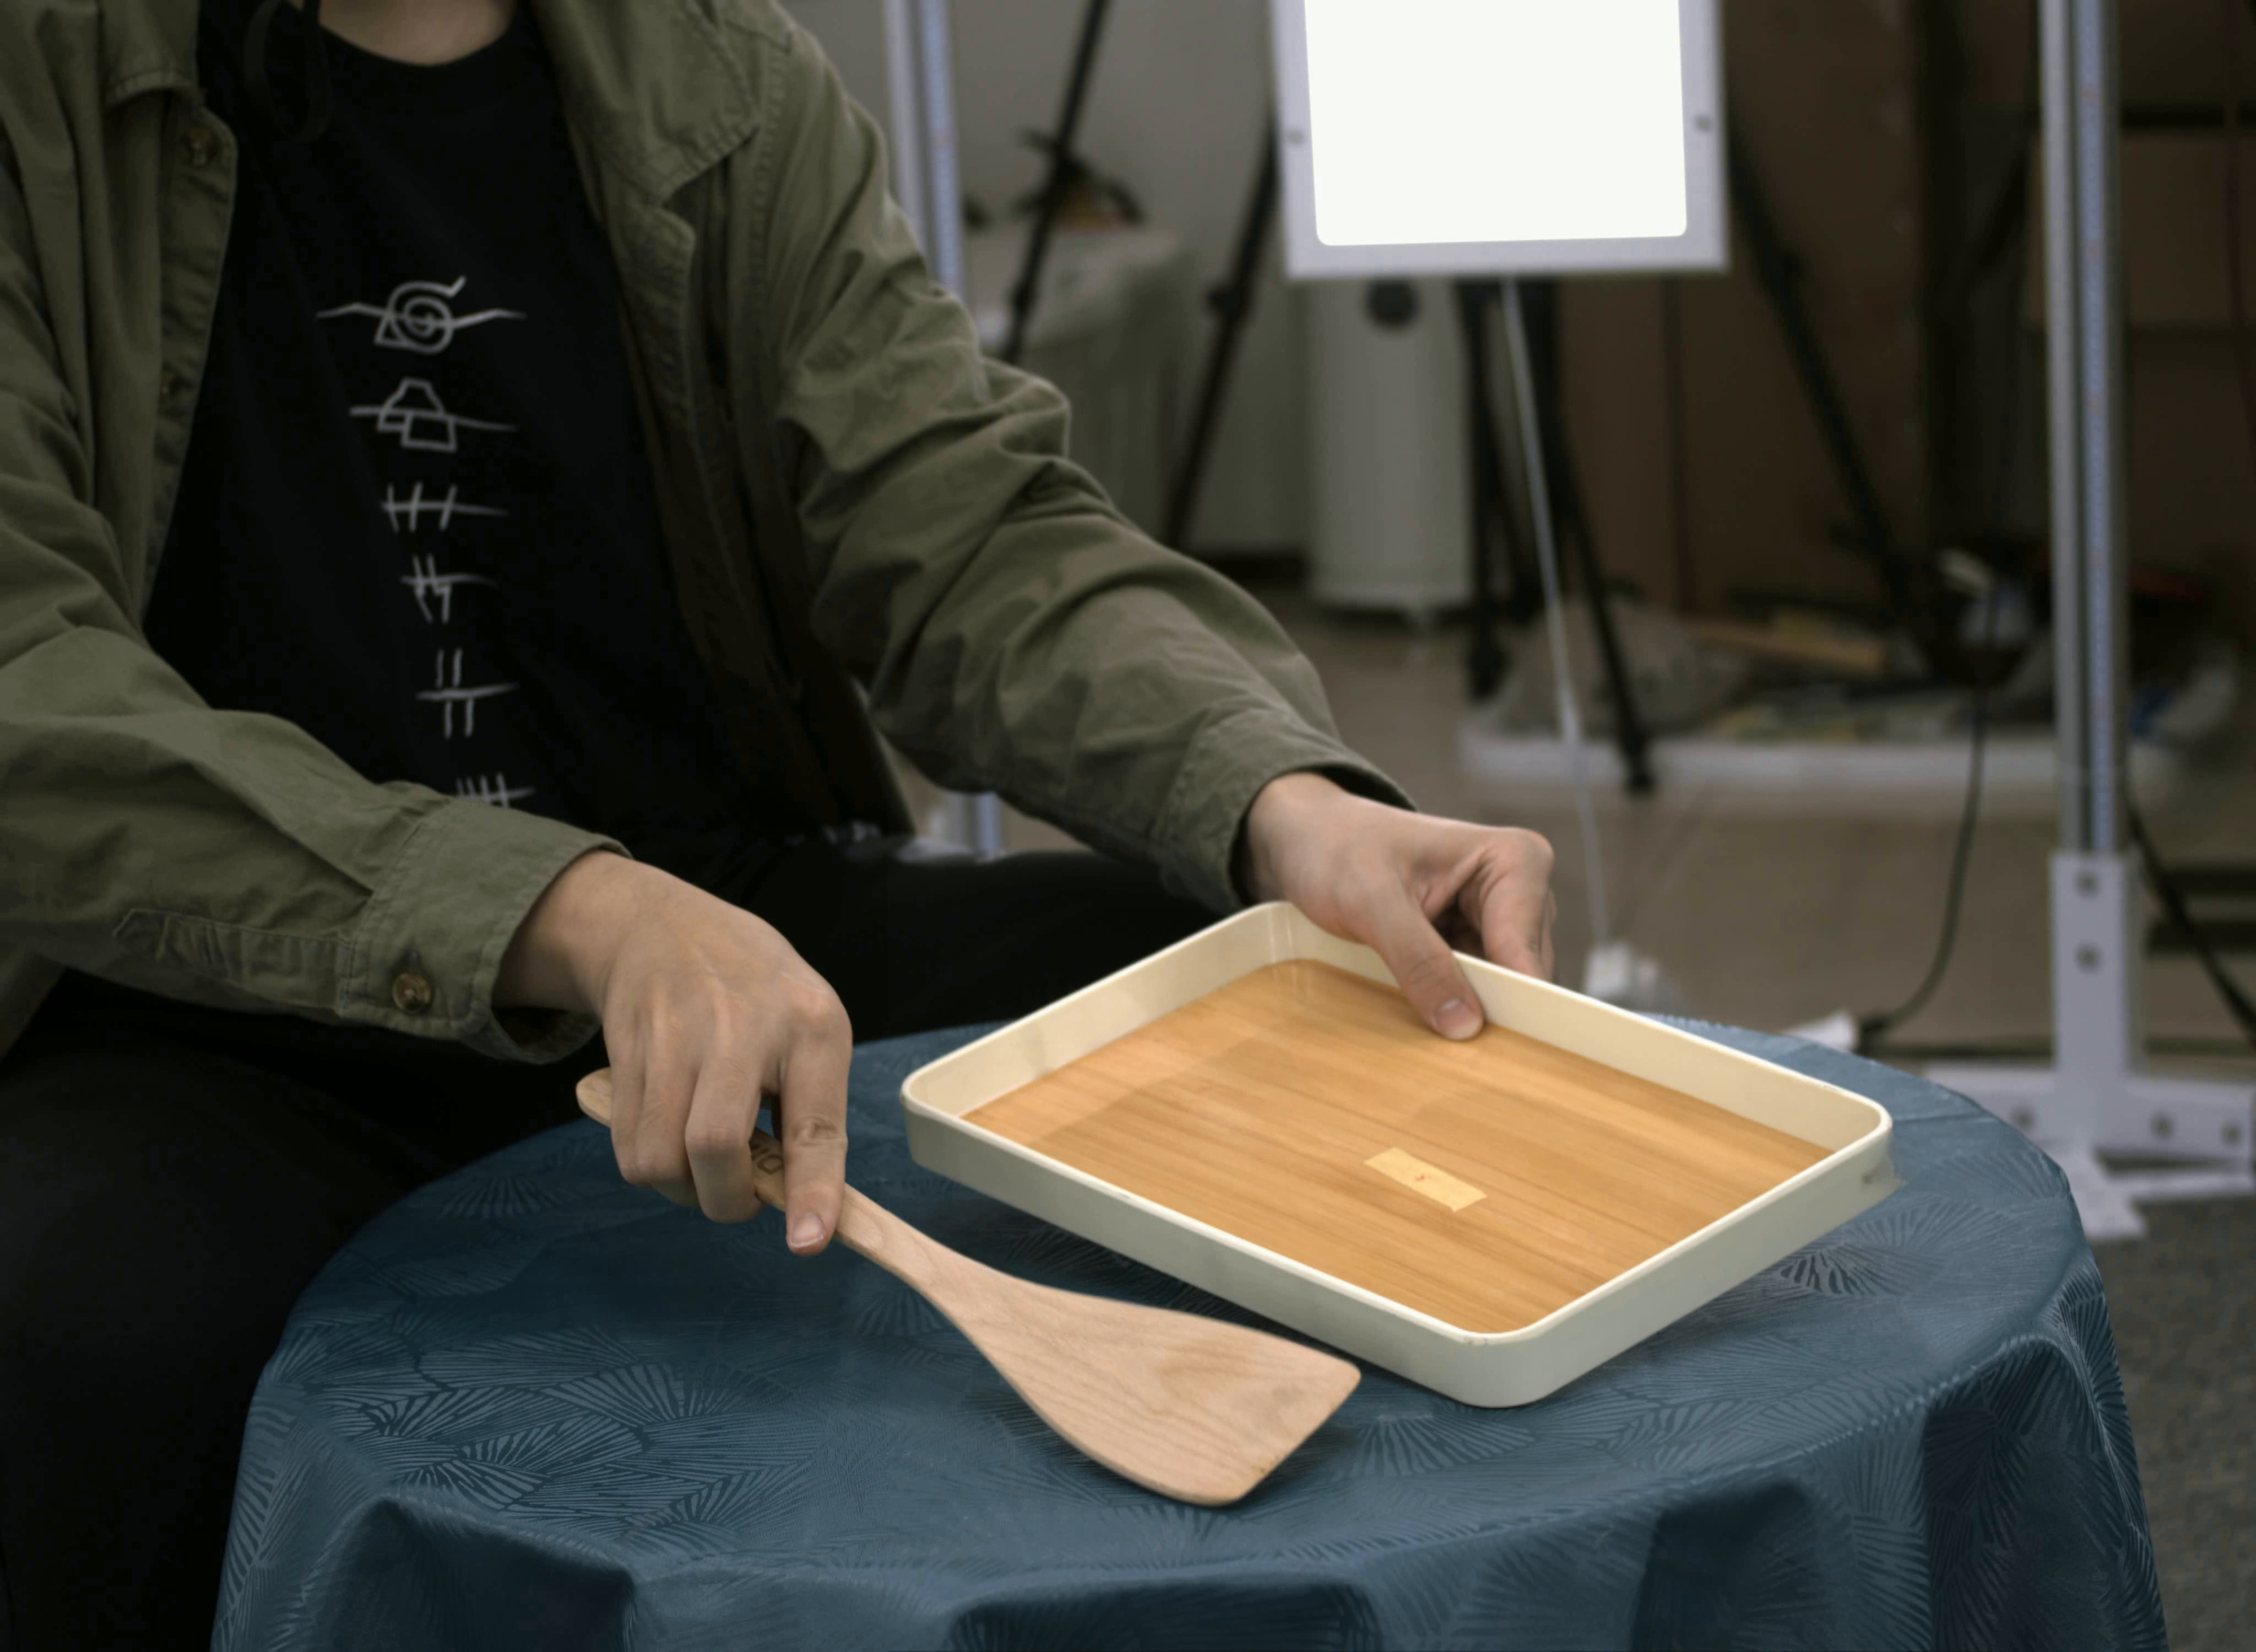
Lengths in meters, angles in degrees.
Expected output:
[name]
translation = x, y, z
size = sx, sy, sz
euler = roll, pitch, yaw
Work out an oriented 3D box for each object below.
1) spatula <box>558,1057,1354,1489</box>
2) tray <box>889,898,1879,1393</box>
[spatula]
translation = -0.065, 0.129, 1.718
size = 0.333, 0.016, 0.078
euler = 24, 42, 39
[tray]
translation = 0.080, 0.098, 1.805
size = 0.187, 0.027, 0.306
euler = -25, 27, -33
